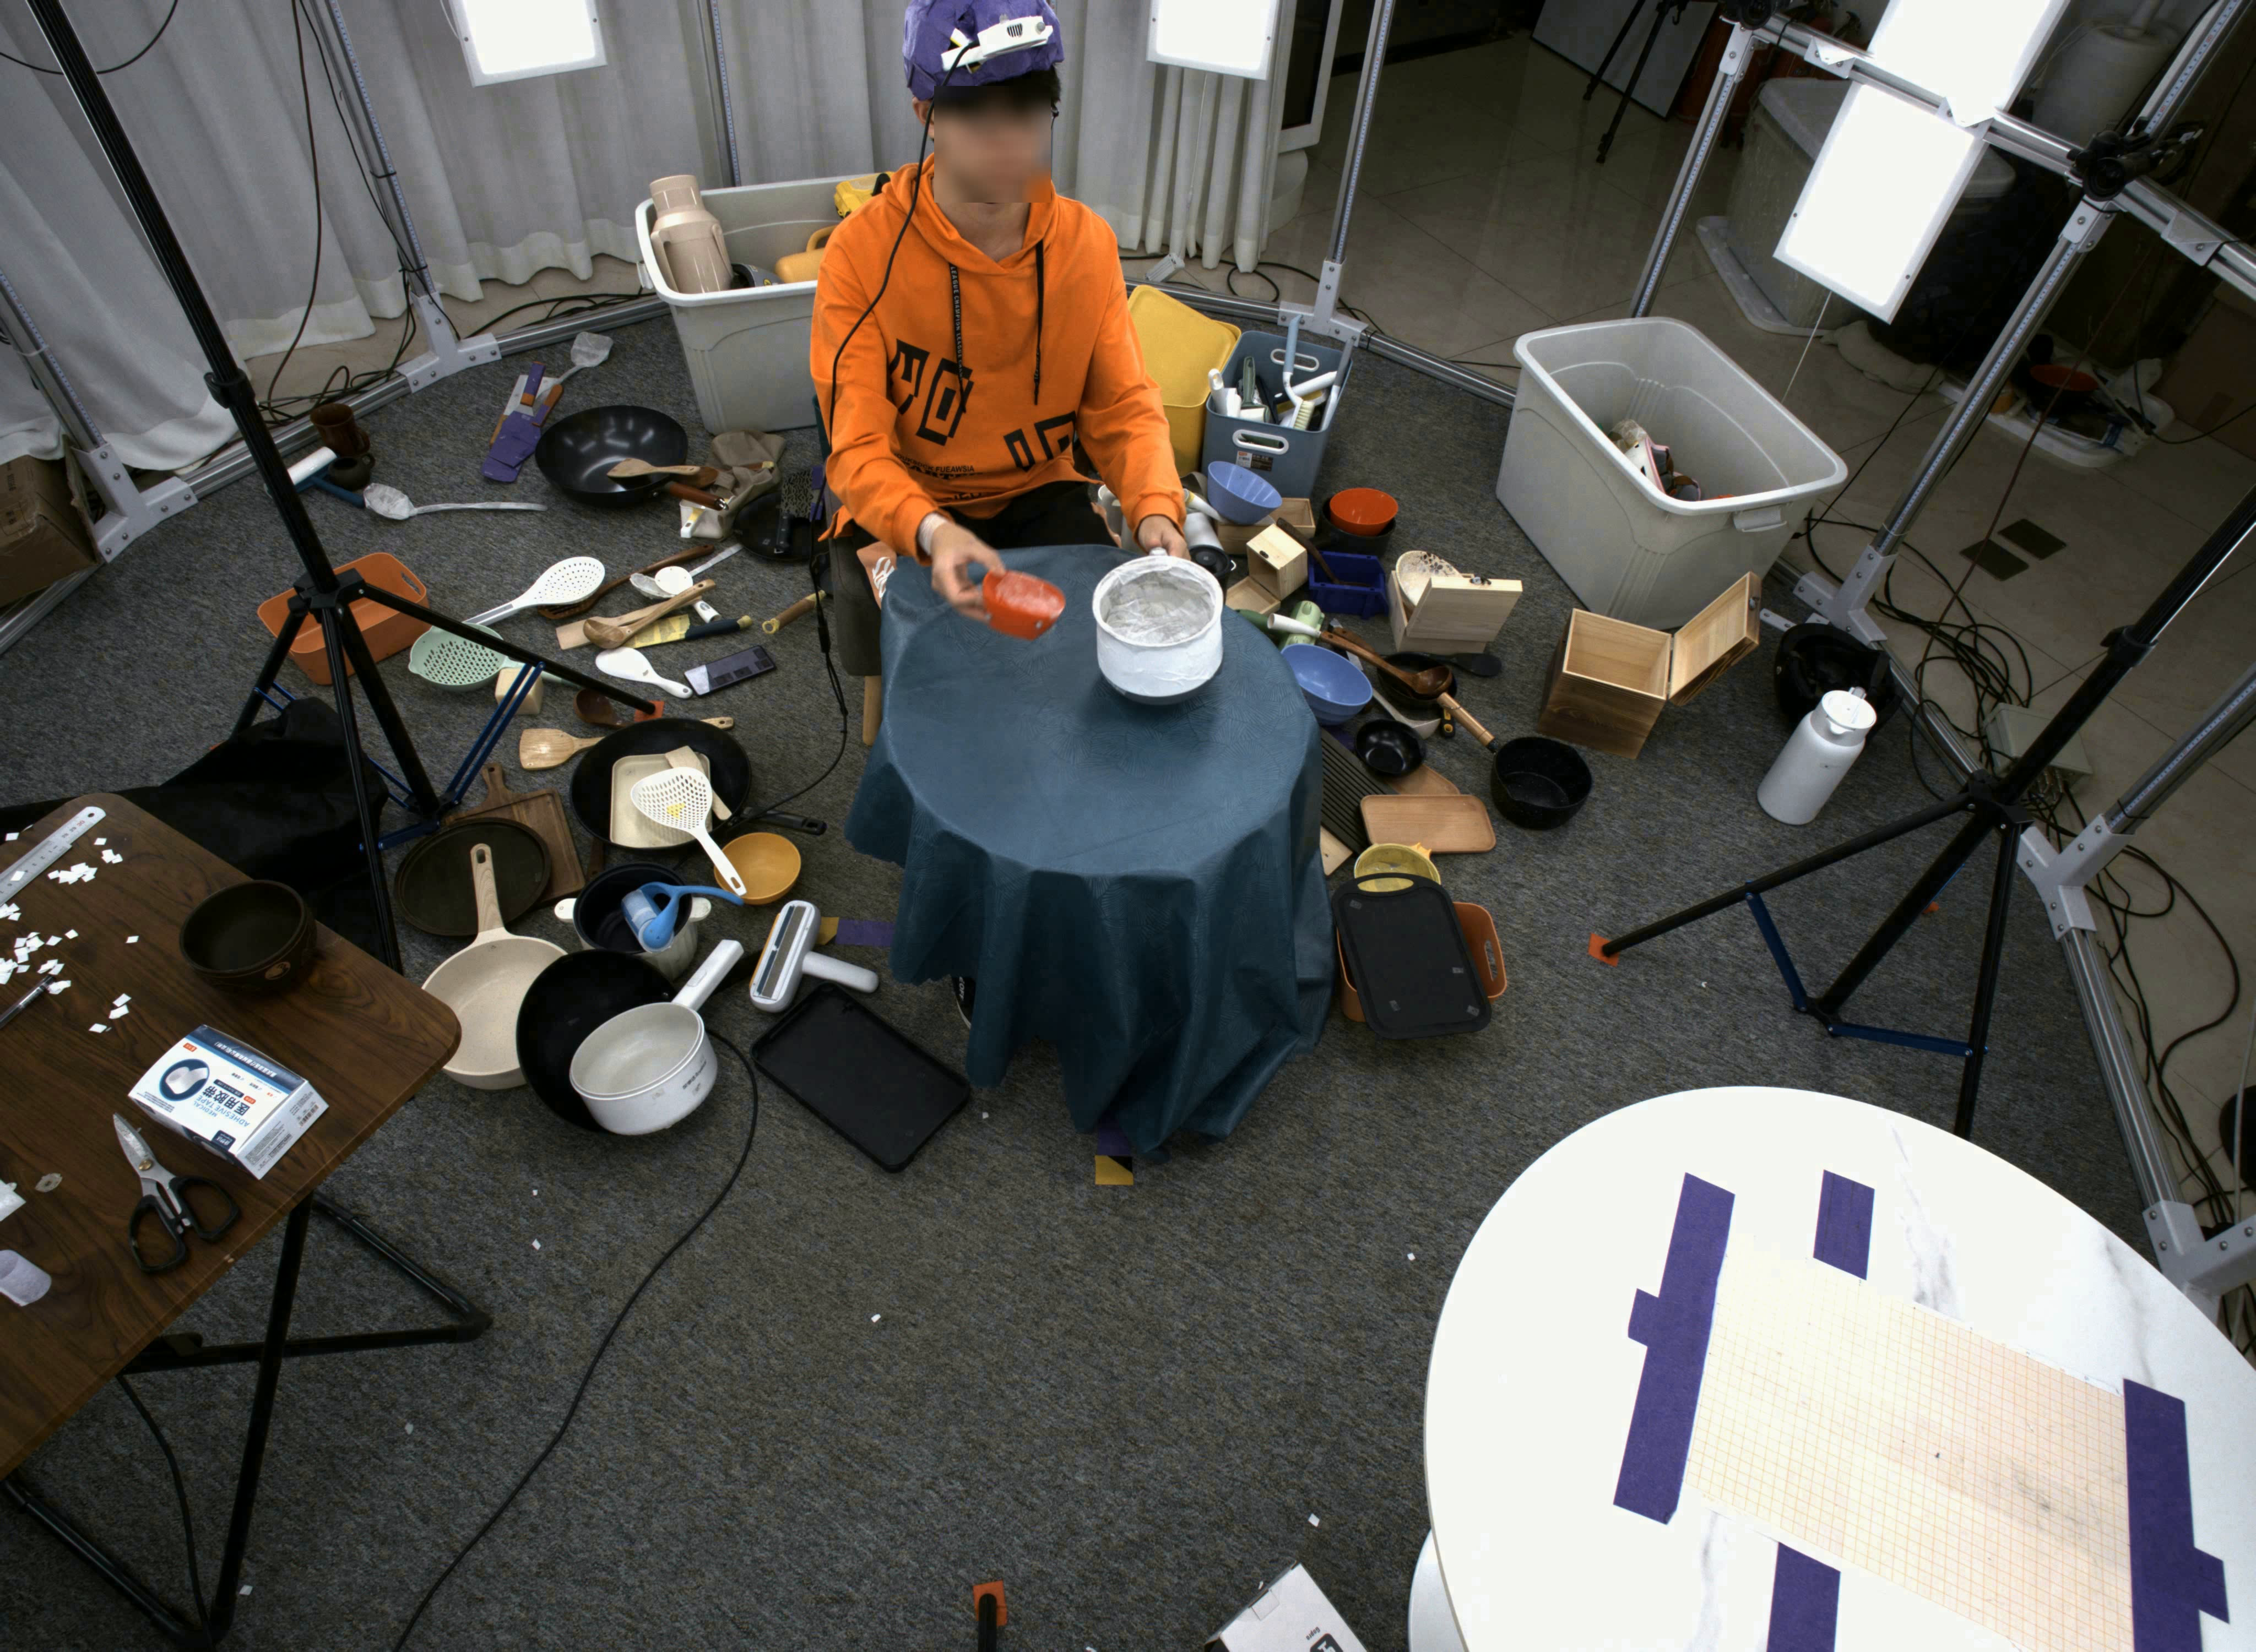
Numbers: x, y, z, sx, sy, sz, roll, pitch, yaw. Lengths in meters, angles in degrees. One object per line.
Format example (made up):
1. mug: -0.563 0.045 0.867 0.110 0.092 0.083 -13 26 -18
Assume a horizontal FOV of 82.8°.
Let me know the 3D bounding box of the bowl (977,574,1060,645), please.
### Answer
1. bowl: -0.148 -0.278 1.679 0.118 0.050 0.121 14 33 -10

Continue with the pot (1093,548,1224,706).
1. pot: 0.044 -0.288 1.797 0.178 0.133 0.239 -2 52 2
